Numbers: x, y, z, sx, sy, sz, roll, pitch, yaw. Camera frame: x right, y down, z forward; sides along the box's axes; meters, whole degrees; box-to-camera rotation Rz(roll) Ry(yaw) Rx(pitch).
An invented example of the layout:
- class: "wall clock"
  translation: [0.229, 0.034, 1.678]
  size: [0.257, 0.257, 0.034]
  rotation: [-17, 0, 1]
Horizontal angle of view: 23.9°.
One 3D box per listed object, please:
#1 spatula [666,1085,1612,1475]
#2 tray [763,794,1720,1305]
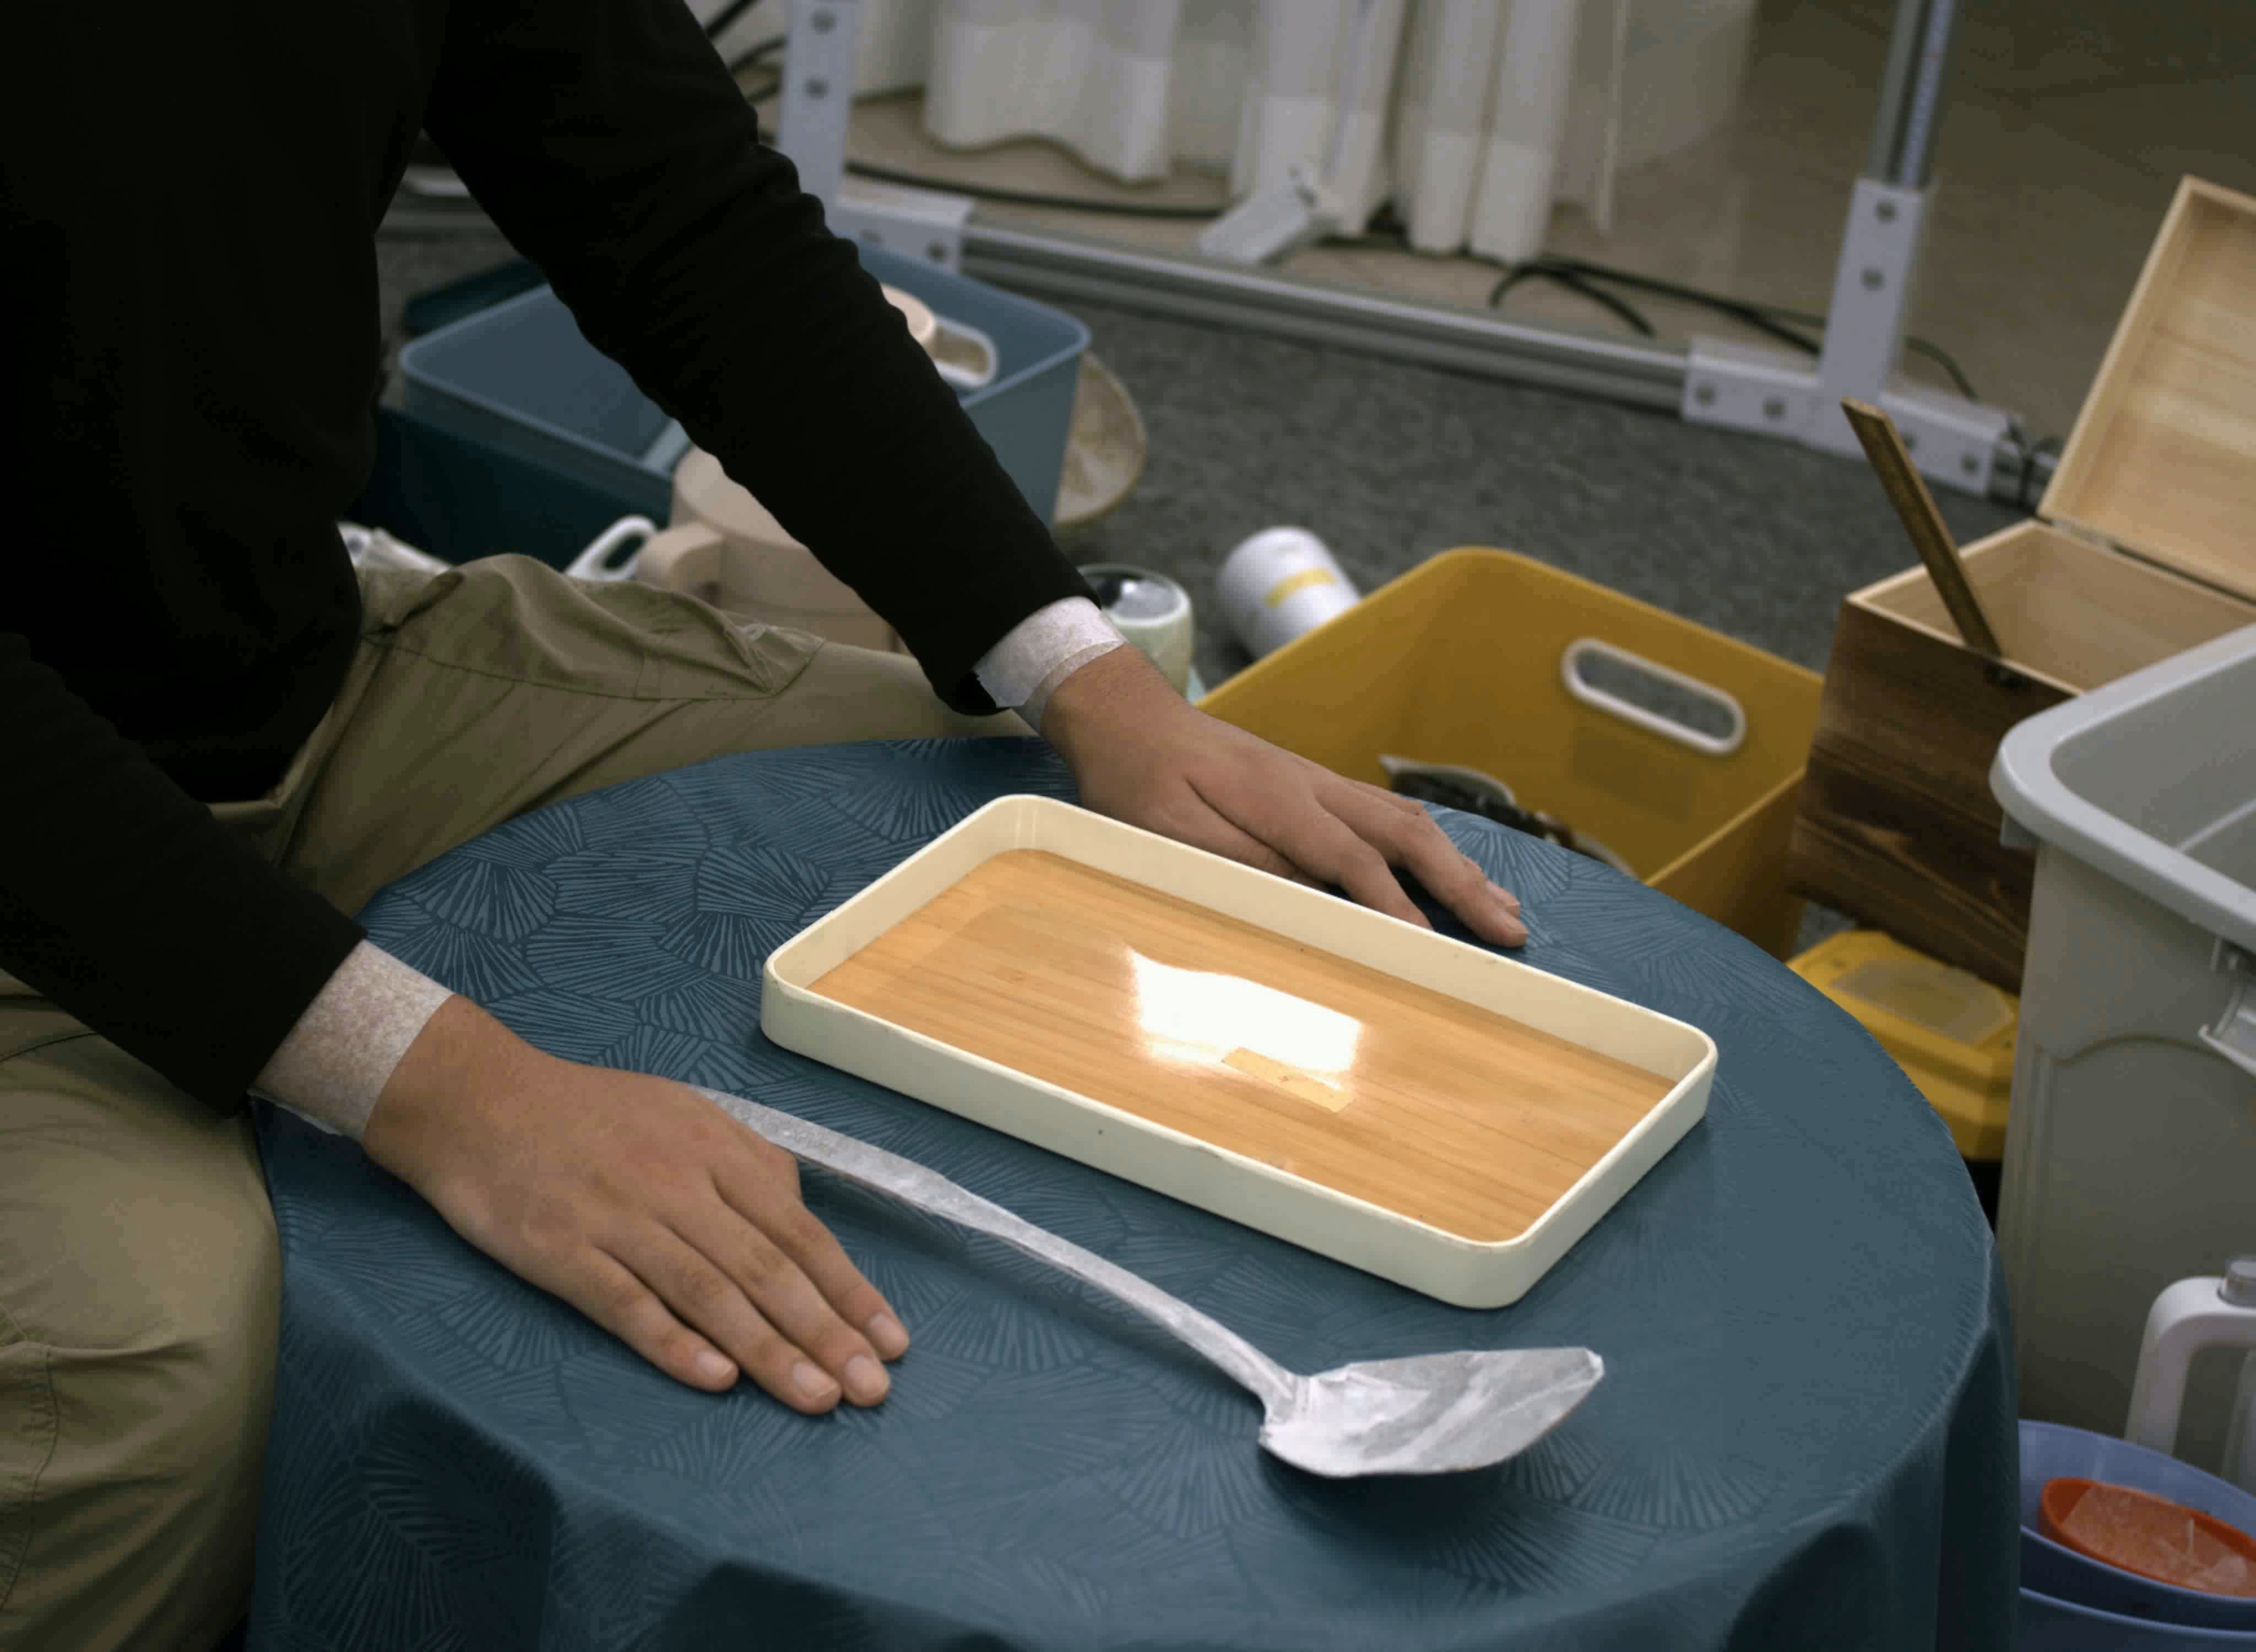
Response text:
- class: "spatula"
  translation: [-0.015, 0.138, 1.728]
  size: [0.367, 0.044, 0.098]
  rotation: [23, 32, 29]
- class: "tray"
  translation: [0.040, 0.074, 1.878]
  size: [0.301, 0.027, 0.191]
  rotation: [20, 30, 24]
